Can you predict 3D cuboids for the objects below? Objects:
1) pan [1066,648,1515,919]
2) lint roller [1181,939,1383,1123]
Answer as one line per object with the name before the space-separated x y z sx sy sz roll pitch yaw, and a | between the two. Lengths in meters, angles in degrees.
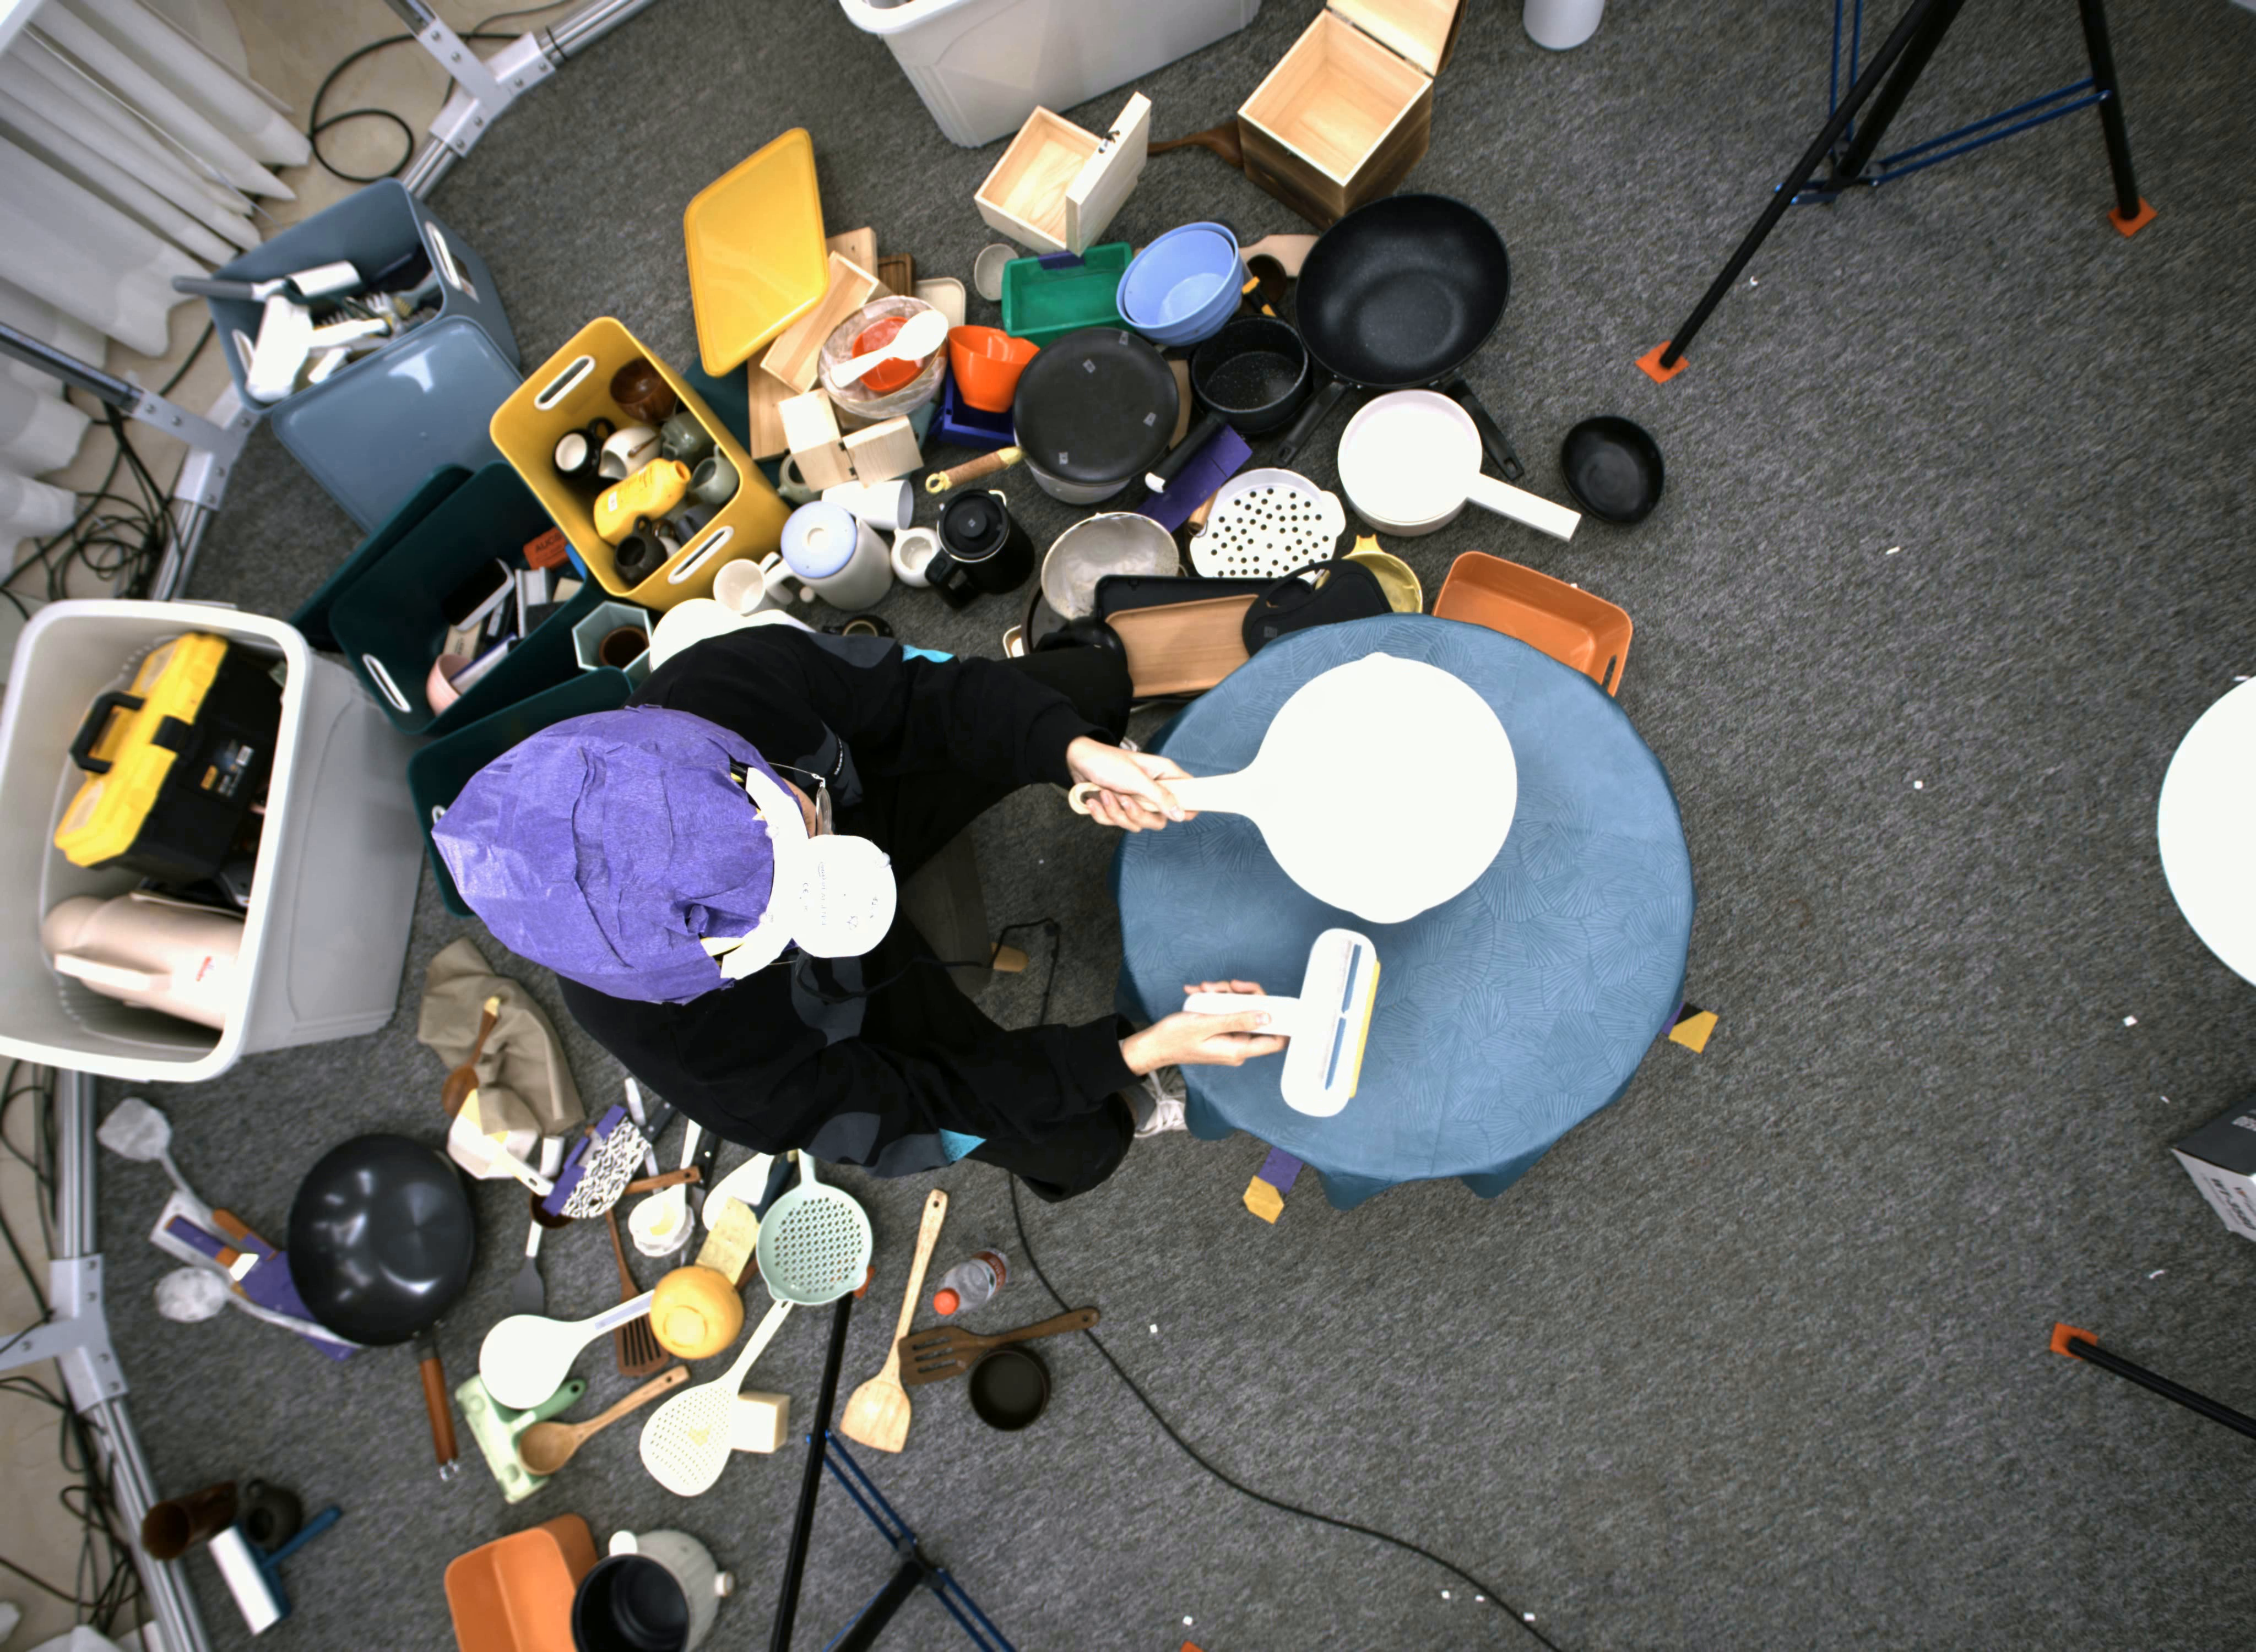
pan | 0.161 -0.036 1.376 0.437 0.101 0.263 -3 89 13
lint roller | 0.140 0.189 1.365 0.193 0.075 0.188 11 61 20
